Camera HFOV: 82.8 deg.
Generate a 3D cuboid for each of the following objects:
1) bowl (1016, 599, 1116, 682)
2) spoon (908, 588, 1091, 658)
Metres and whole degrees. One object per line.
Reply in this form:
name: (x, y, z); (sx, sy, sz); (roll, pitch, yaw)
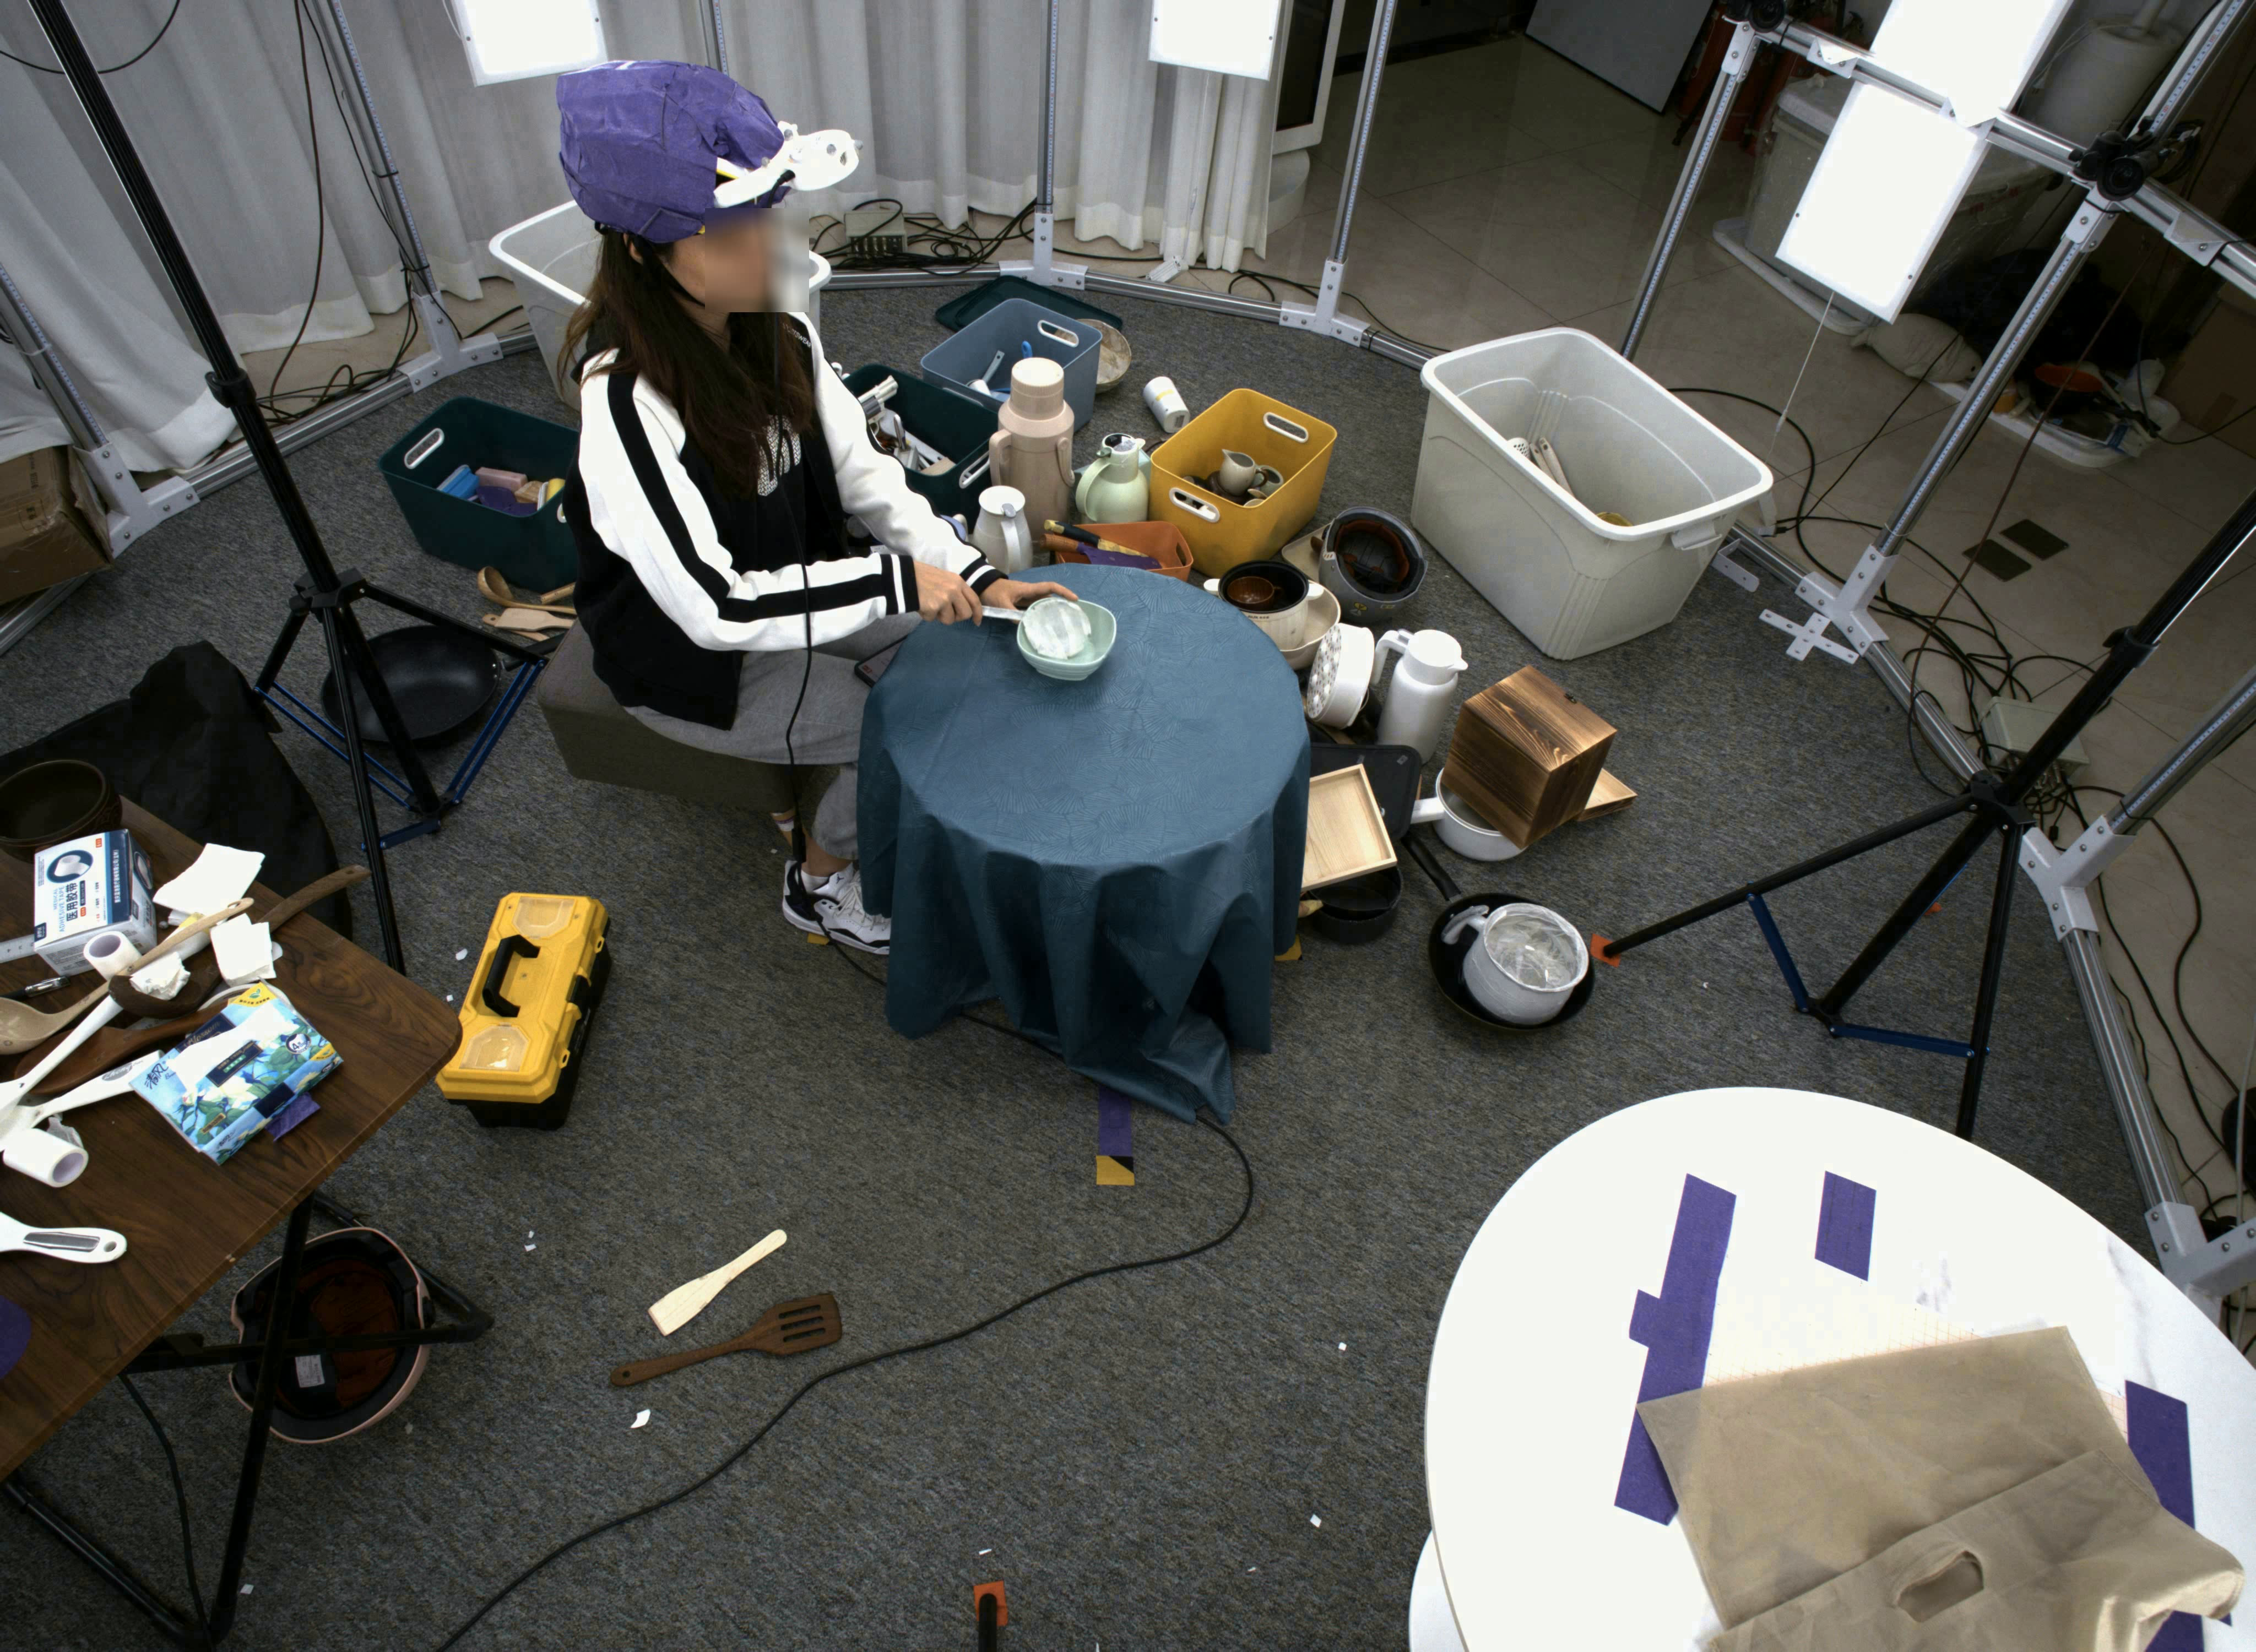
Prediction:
bowl: (-0.090, -0.260, 1.856); (0.151, 0.057, 0.155); (2, 49, -3)
spoon: (-0.172, -0.291, 1.775); (0.275, 0.099, 0.060); (2, 36, -43)
